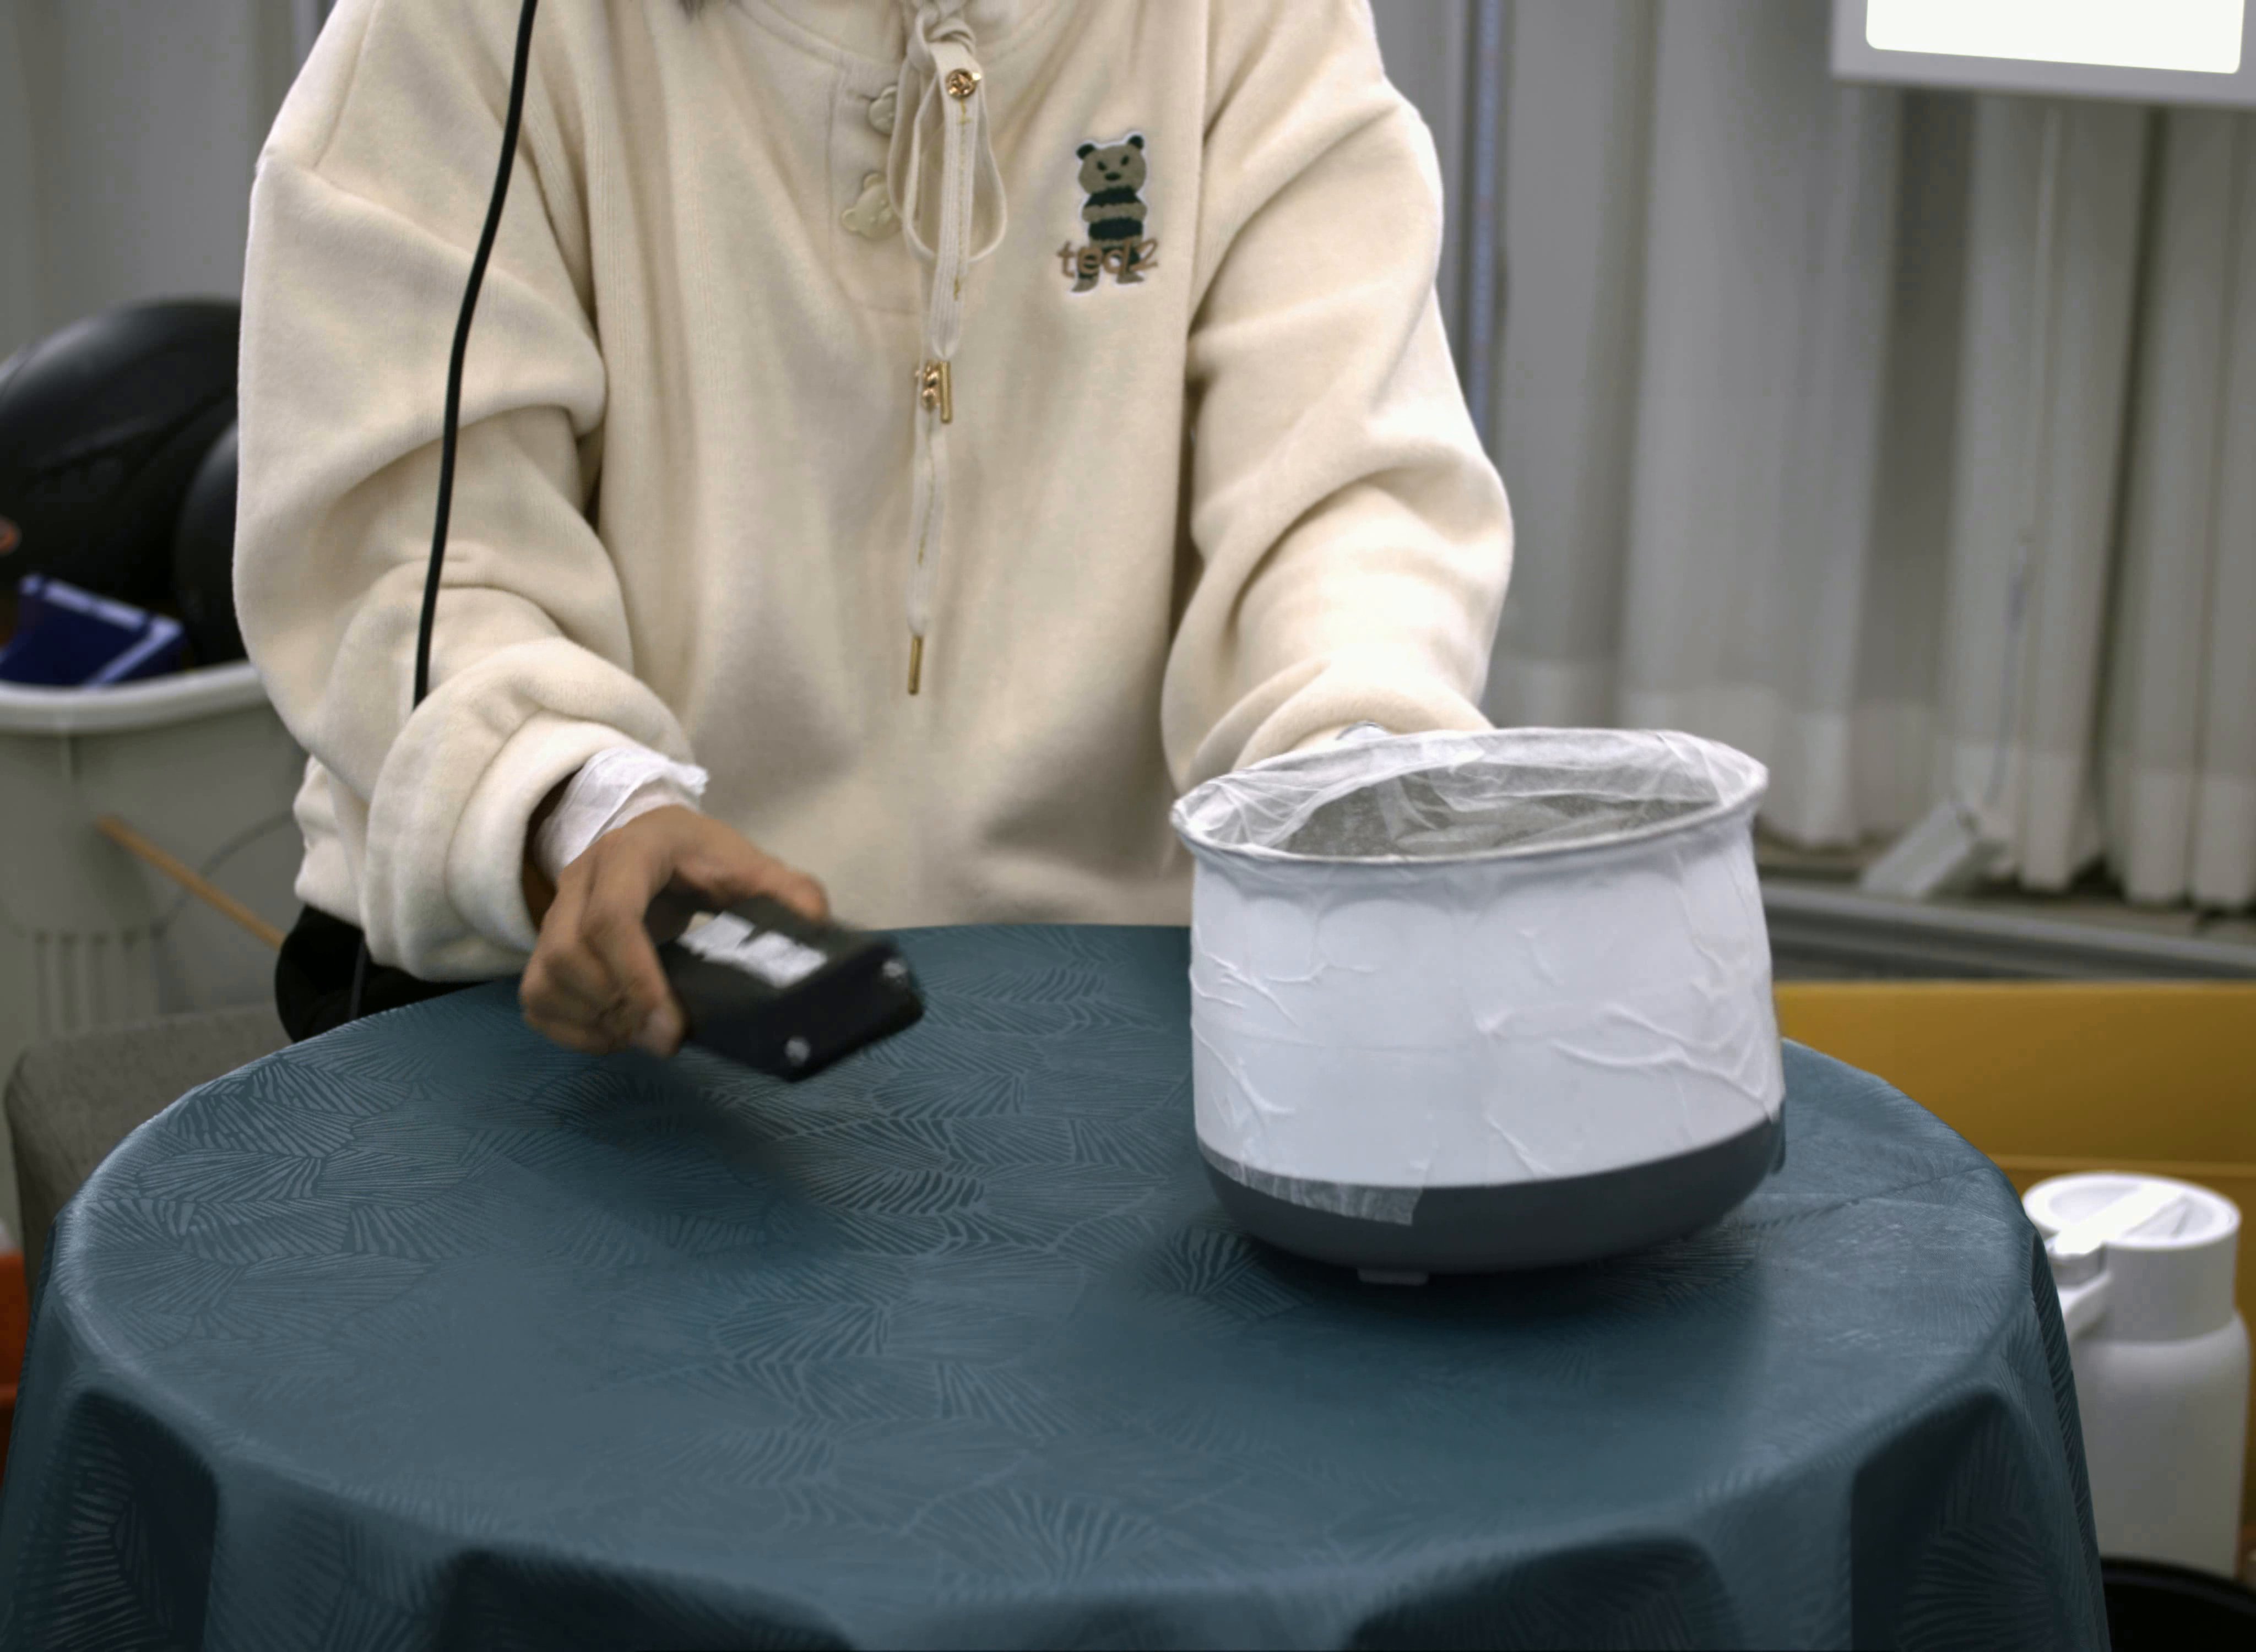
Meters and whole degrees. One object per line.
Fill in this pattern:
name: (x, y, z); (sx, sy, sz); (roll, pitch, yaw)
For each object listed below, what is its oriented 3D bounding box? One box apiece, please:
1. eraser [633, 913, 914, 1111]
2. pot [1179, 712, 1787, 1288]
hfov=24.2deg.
eraser: (-0.110, 0.056, 1.632); (0.053, 0.031, 0.124); (-27, 16, -16)
pot: (0.098, 0.046, 1.589); (0.179, 0.137, 0.231); (-7, 14, -16)
